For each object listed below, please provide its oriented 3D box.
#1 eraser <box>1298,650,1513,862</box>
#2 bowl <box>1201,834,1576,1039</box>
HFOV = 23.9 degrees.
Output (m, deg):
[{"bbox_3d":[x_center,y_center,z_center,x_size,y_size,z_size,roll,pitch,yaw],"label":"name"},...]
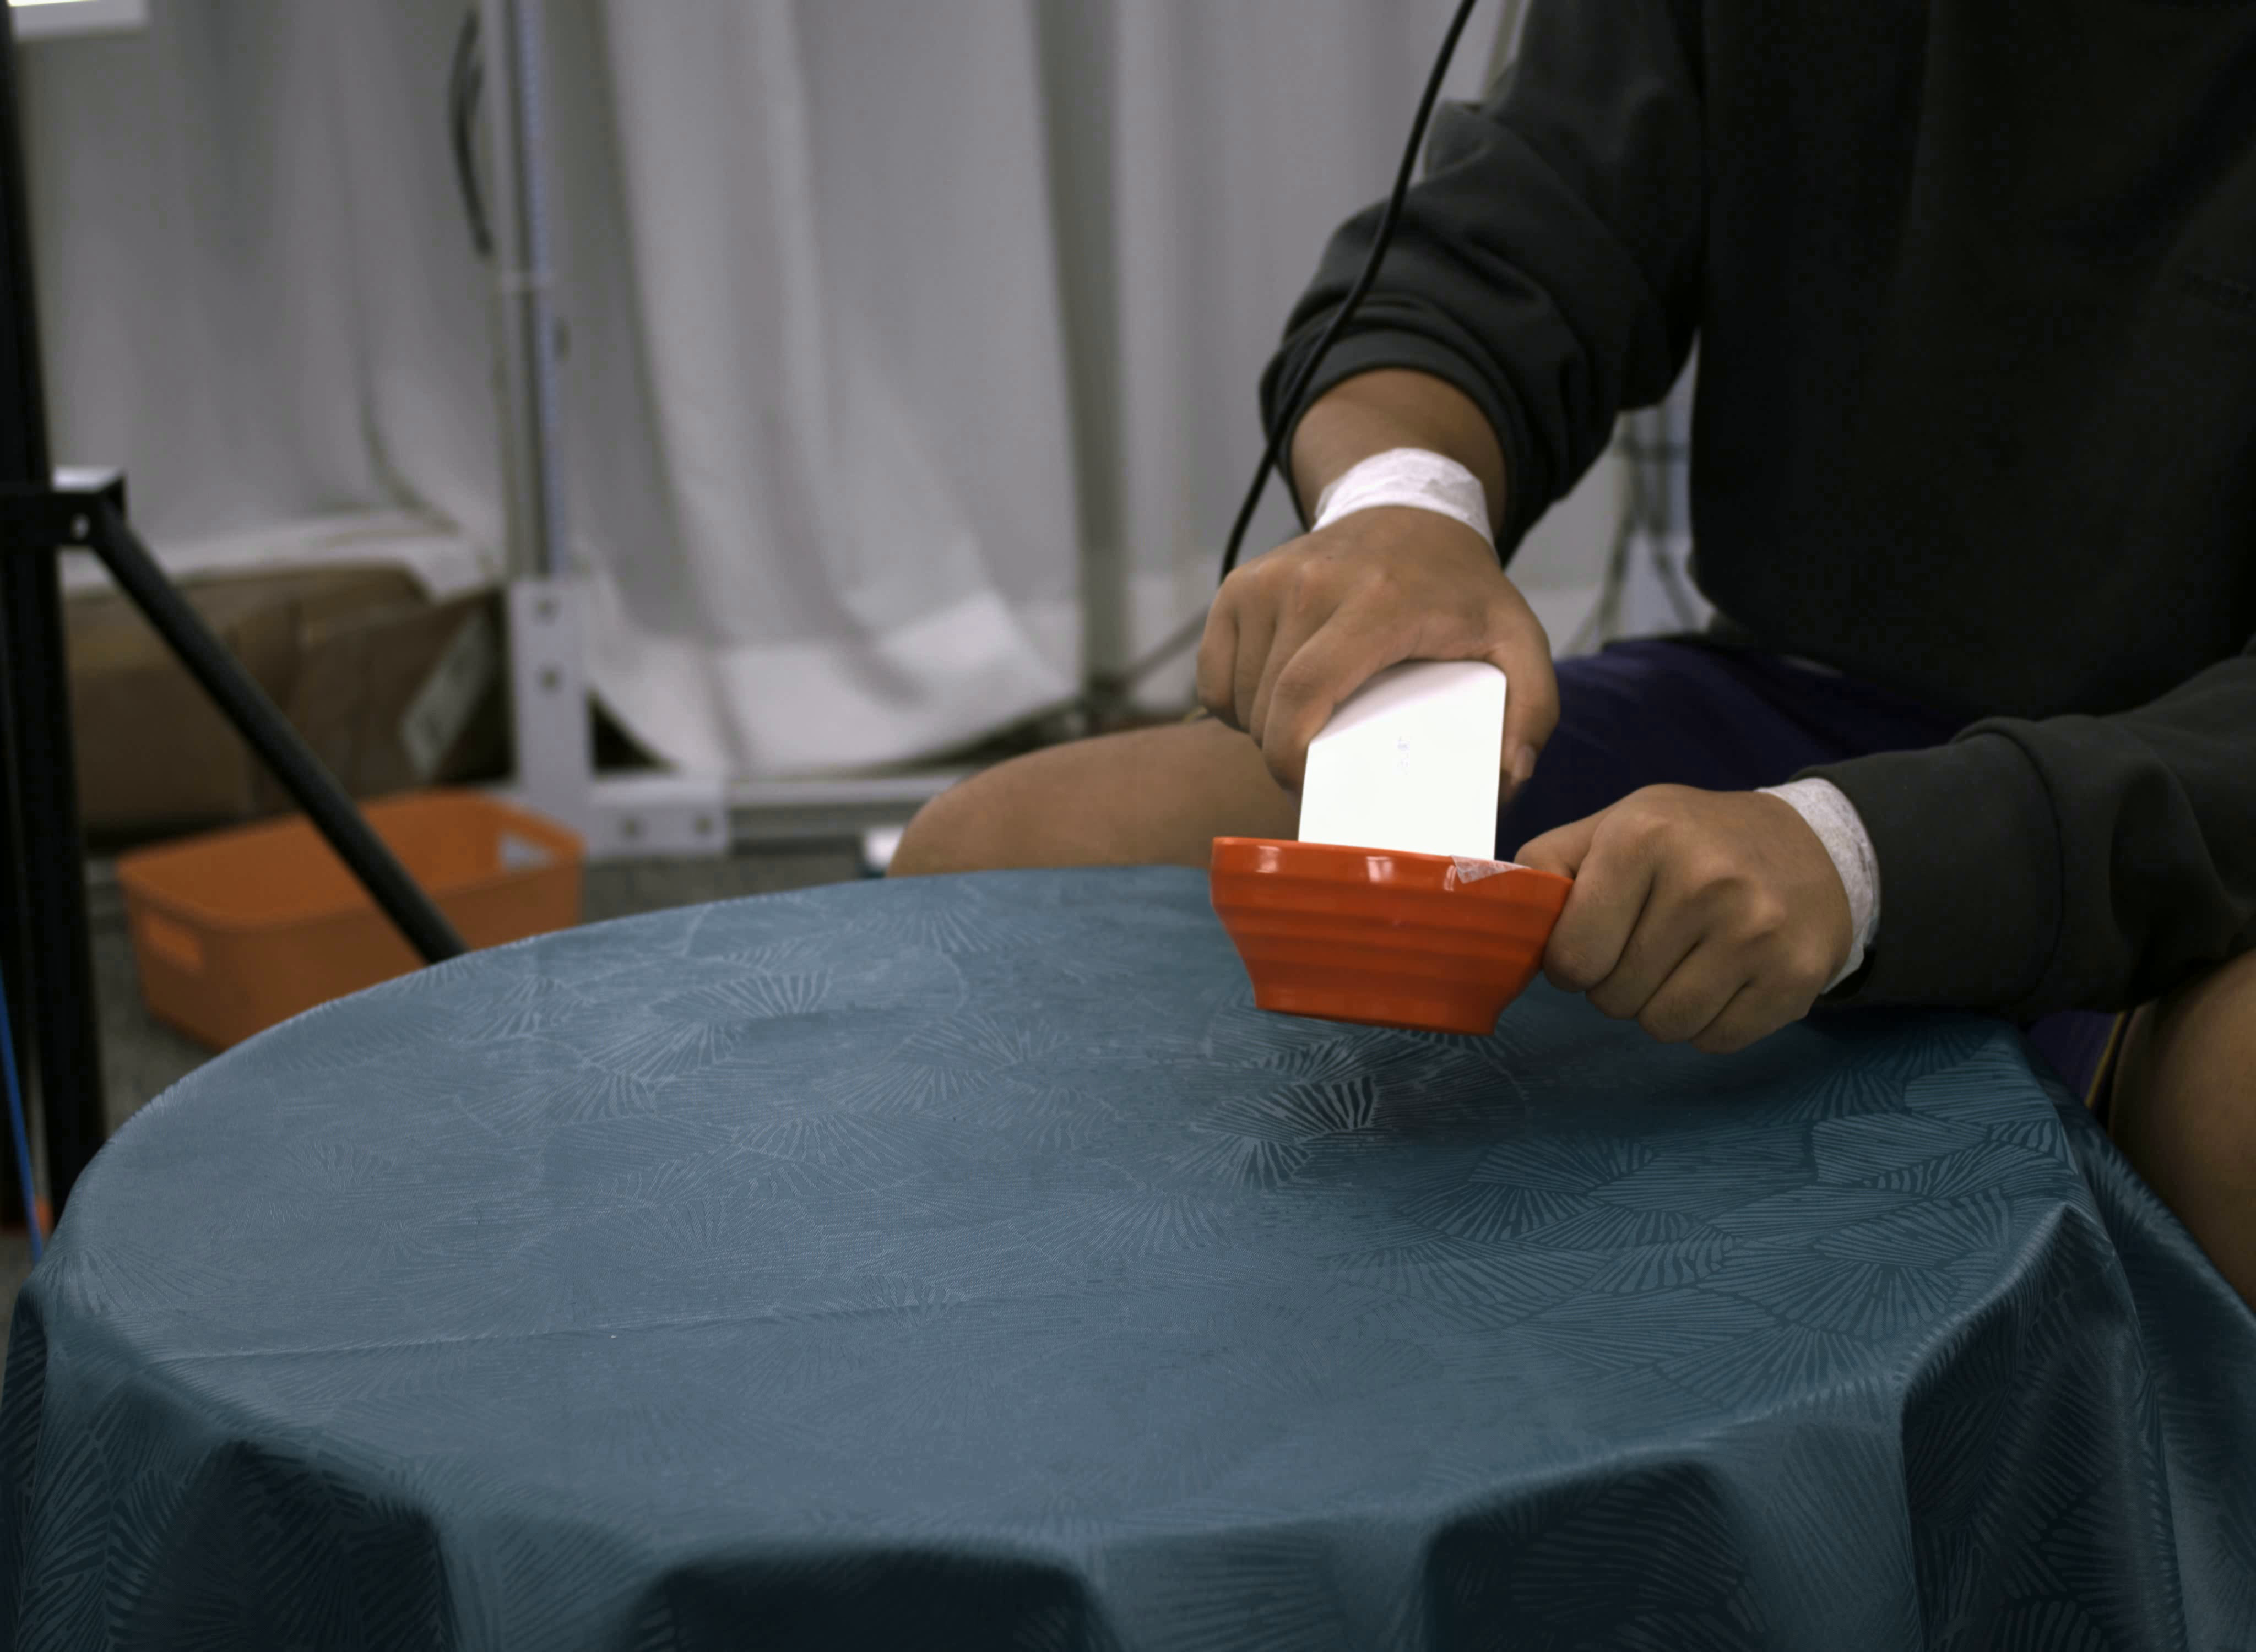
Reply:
[{"bbox_3d":[0.088,-0.010,1.666,0.063,0.034,0.132,2,39,8],"label":"eraser"},{"bbox_3d":[0.077,0.035,1.608,0.118,0.051,0.119,7,-4,-1],"label":"bowl"}]
